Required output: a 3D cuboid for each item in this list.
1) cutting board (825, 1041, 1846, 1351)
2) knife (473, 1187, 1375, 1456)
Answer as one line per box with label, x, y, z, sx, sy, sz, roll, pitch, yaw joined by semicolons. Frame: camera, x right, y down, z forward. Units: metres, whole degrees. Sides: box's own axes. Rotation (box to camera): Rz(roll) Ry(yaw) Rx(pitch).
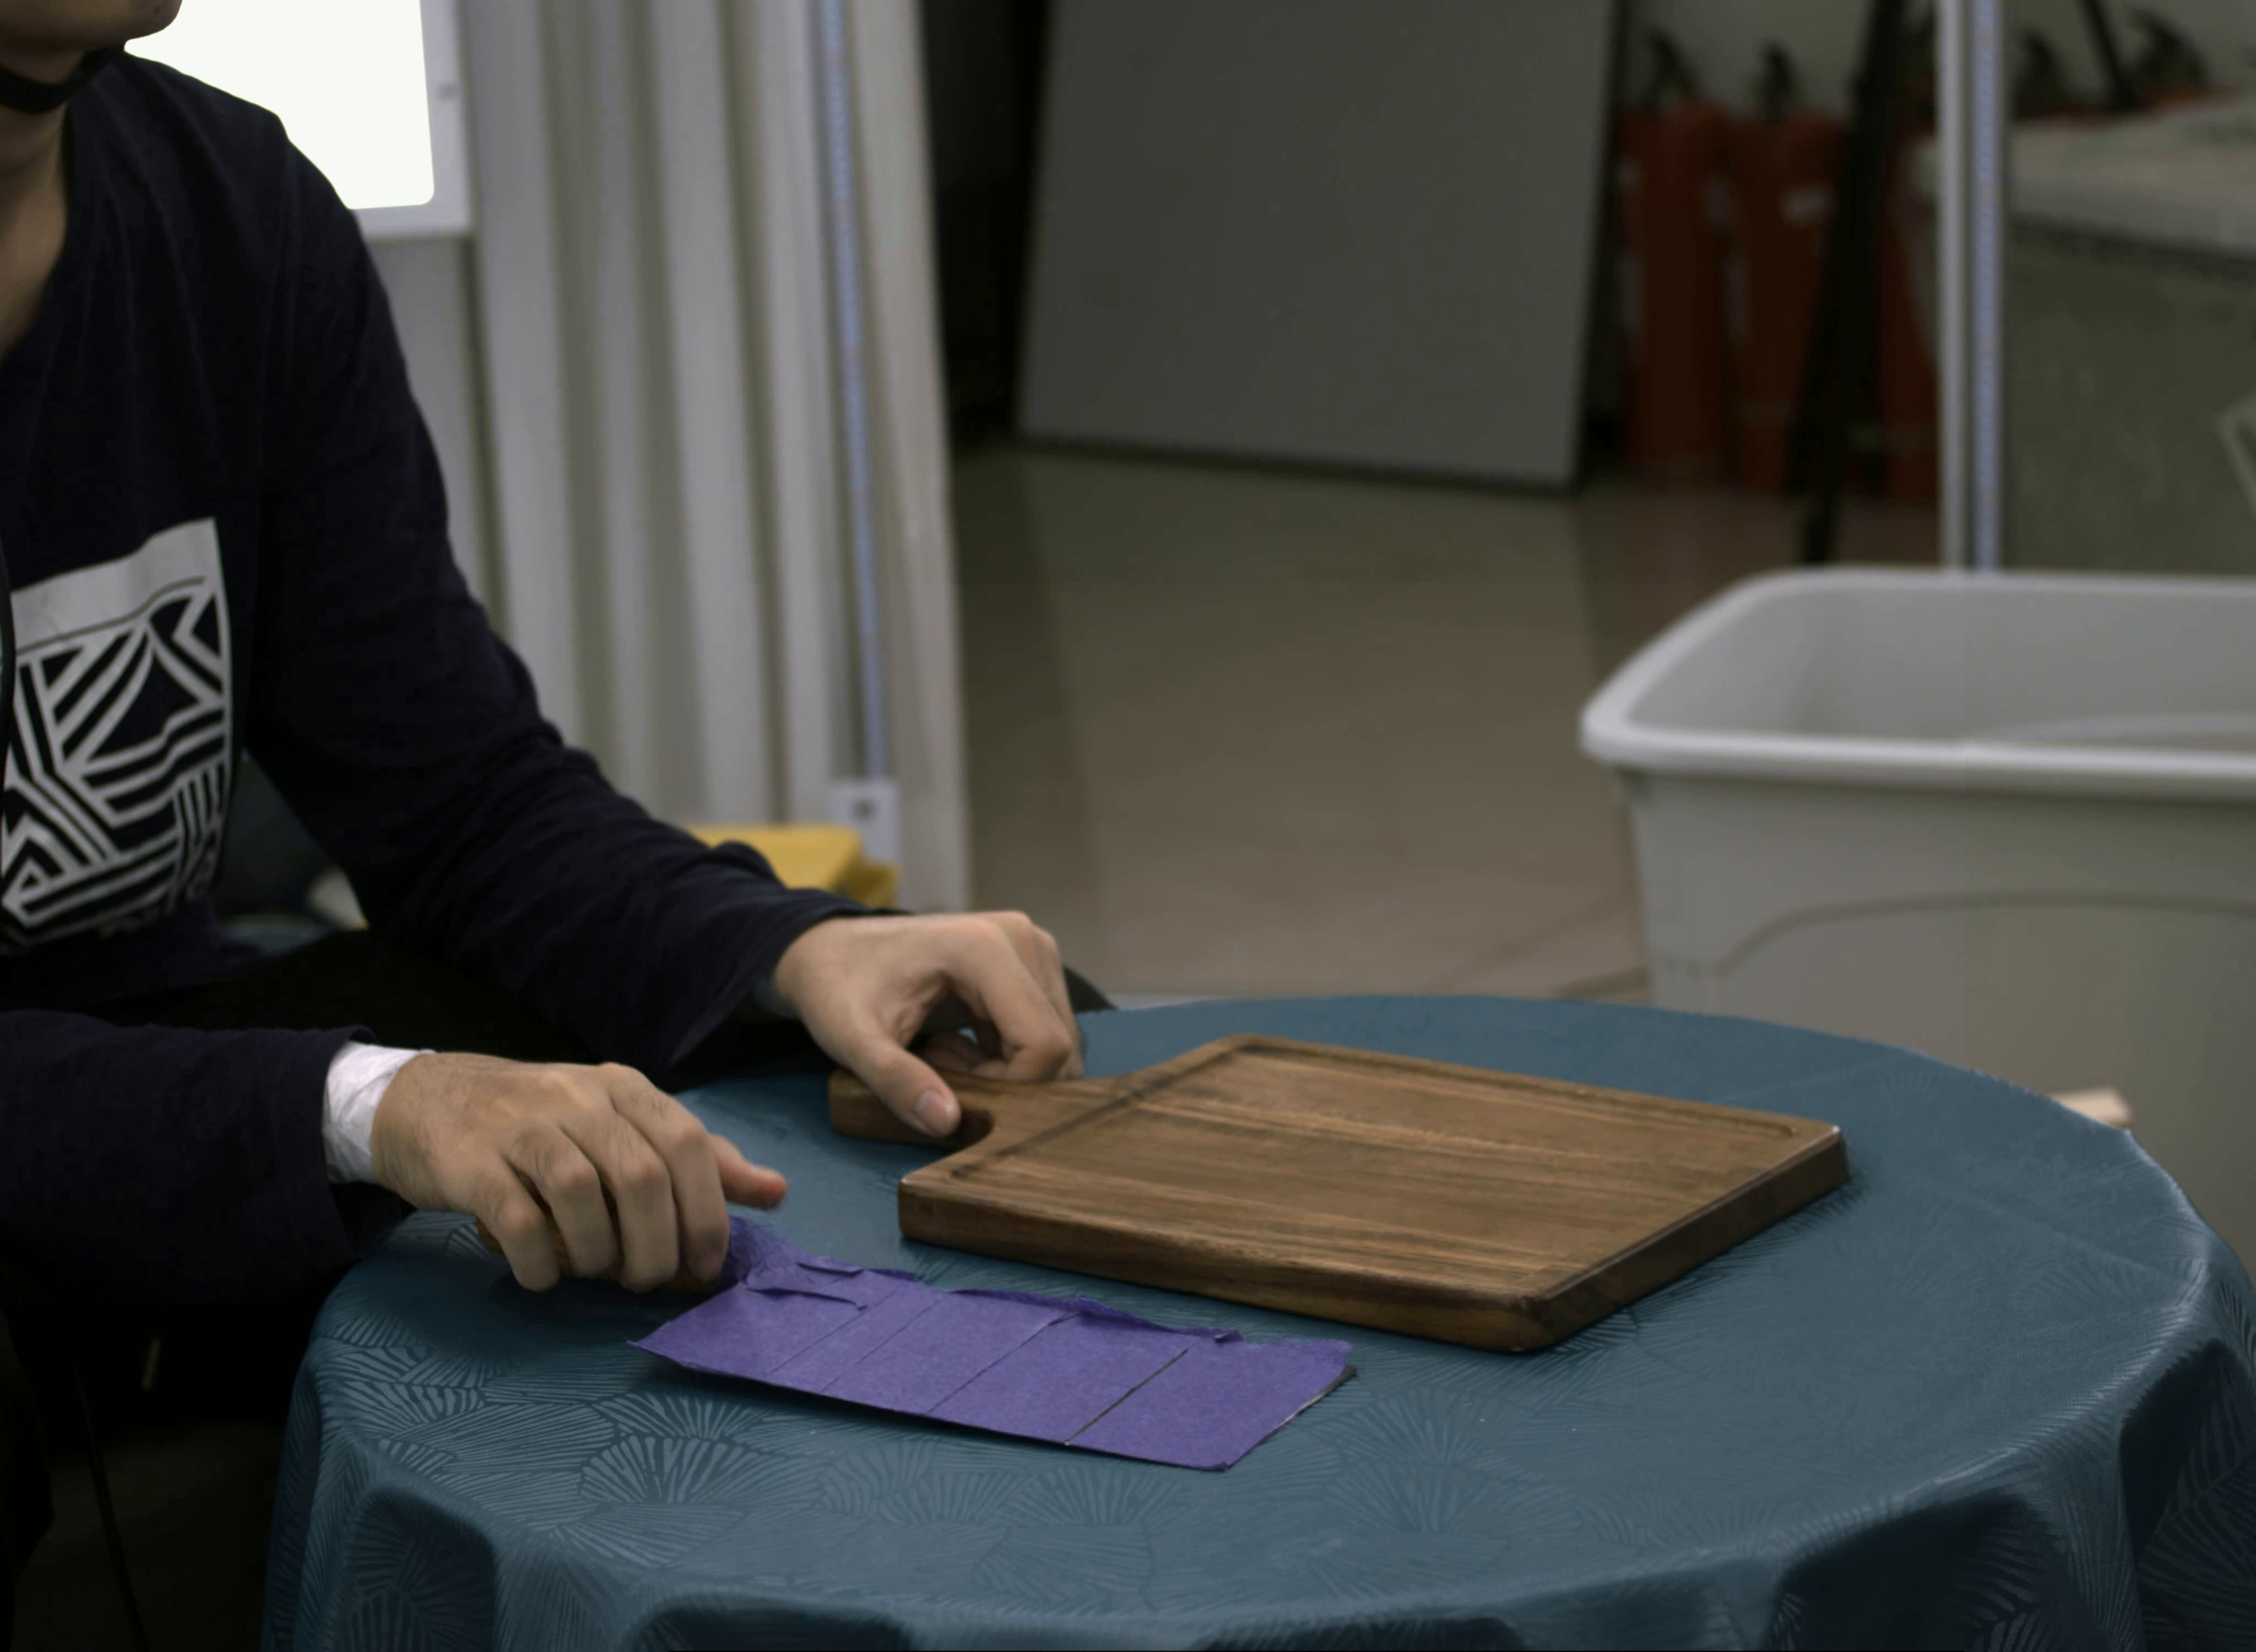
cutting board;0.040;0.111;1.765;0.355;0.023;0.197;6;17;38
knife;-0.083;0.149;1.630;0.316;0.032;0.102;5;16;31
